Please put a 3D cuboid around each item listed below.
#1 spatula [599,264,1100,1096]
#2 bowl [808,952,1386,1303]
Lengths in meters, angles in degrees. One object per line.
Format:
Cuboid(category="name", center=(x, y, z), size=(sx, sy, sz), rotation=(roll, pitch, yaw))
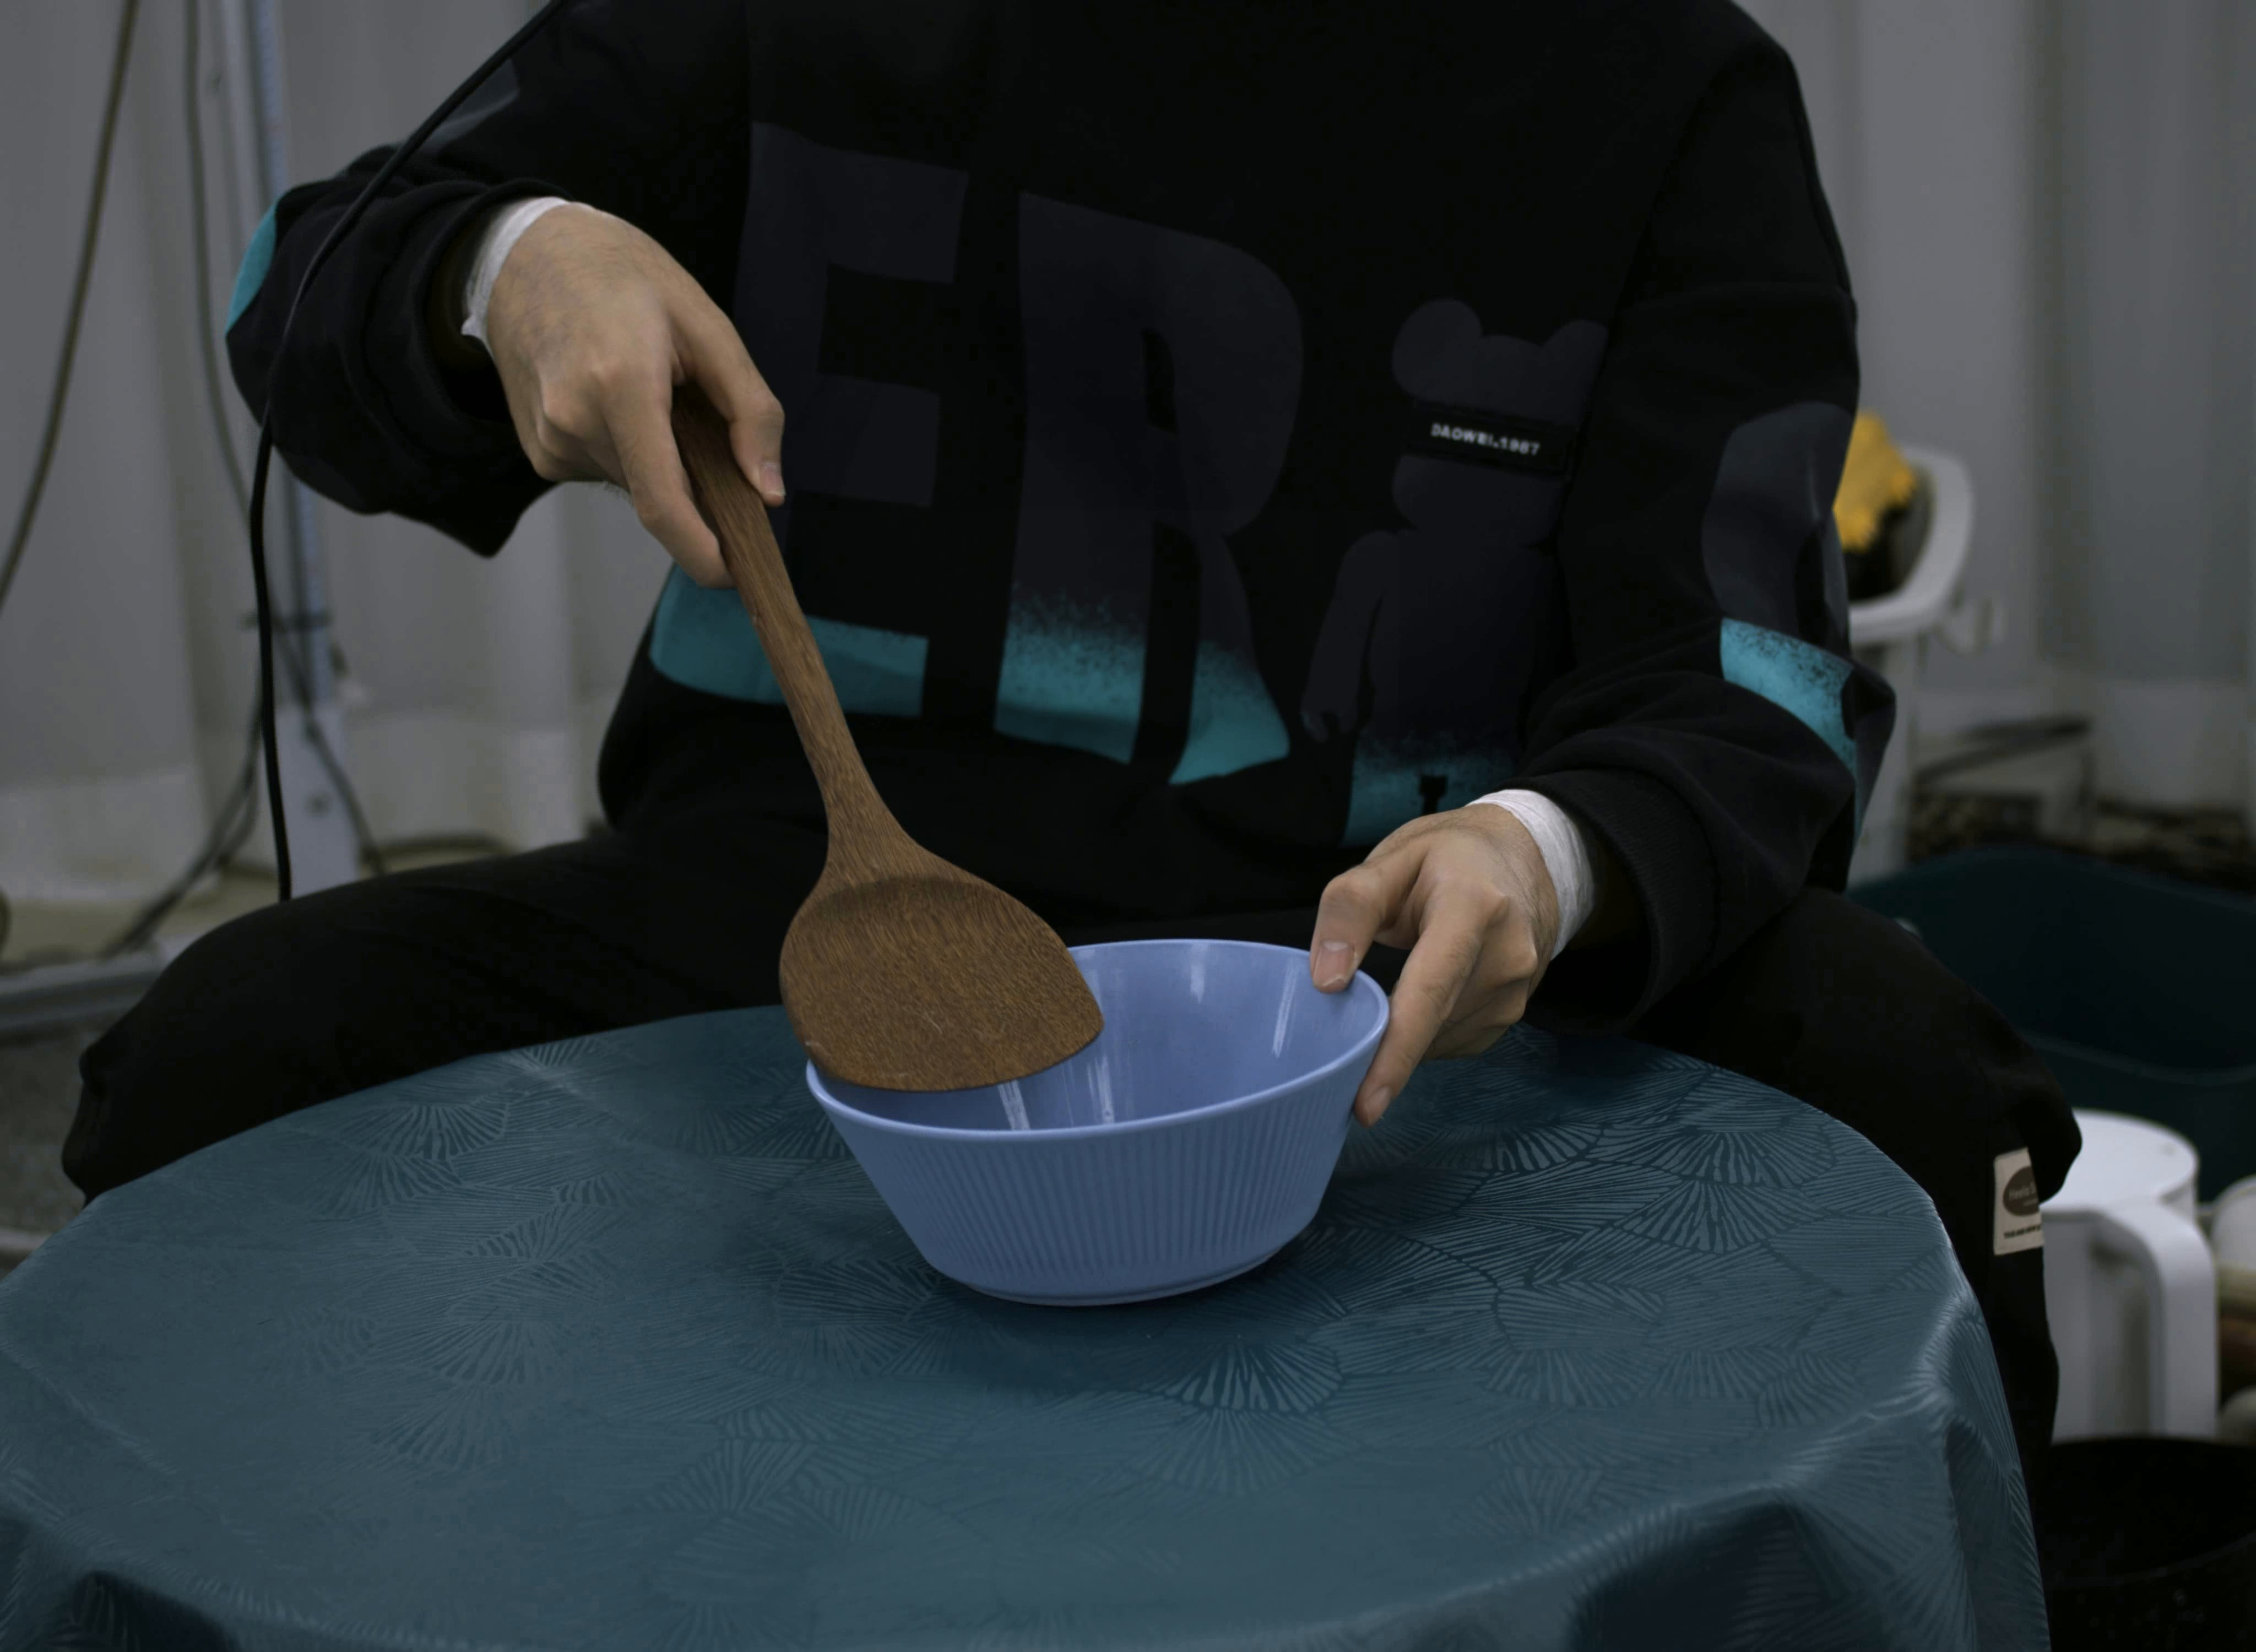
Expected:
Cuboid(category="spatula", center=(-0.110, -0.058, 1.770), size=(0.095, 0.015, 0.392), rotation=(-9, 48, -19))
Cuboid(category="bowl", center=(-0.007, 0.093, 1.648), size=(0.175, 0.070, 0.177), rotation=(-5, 15, 1))
